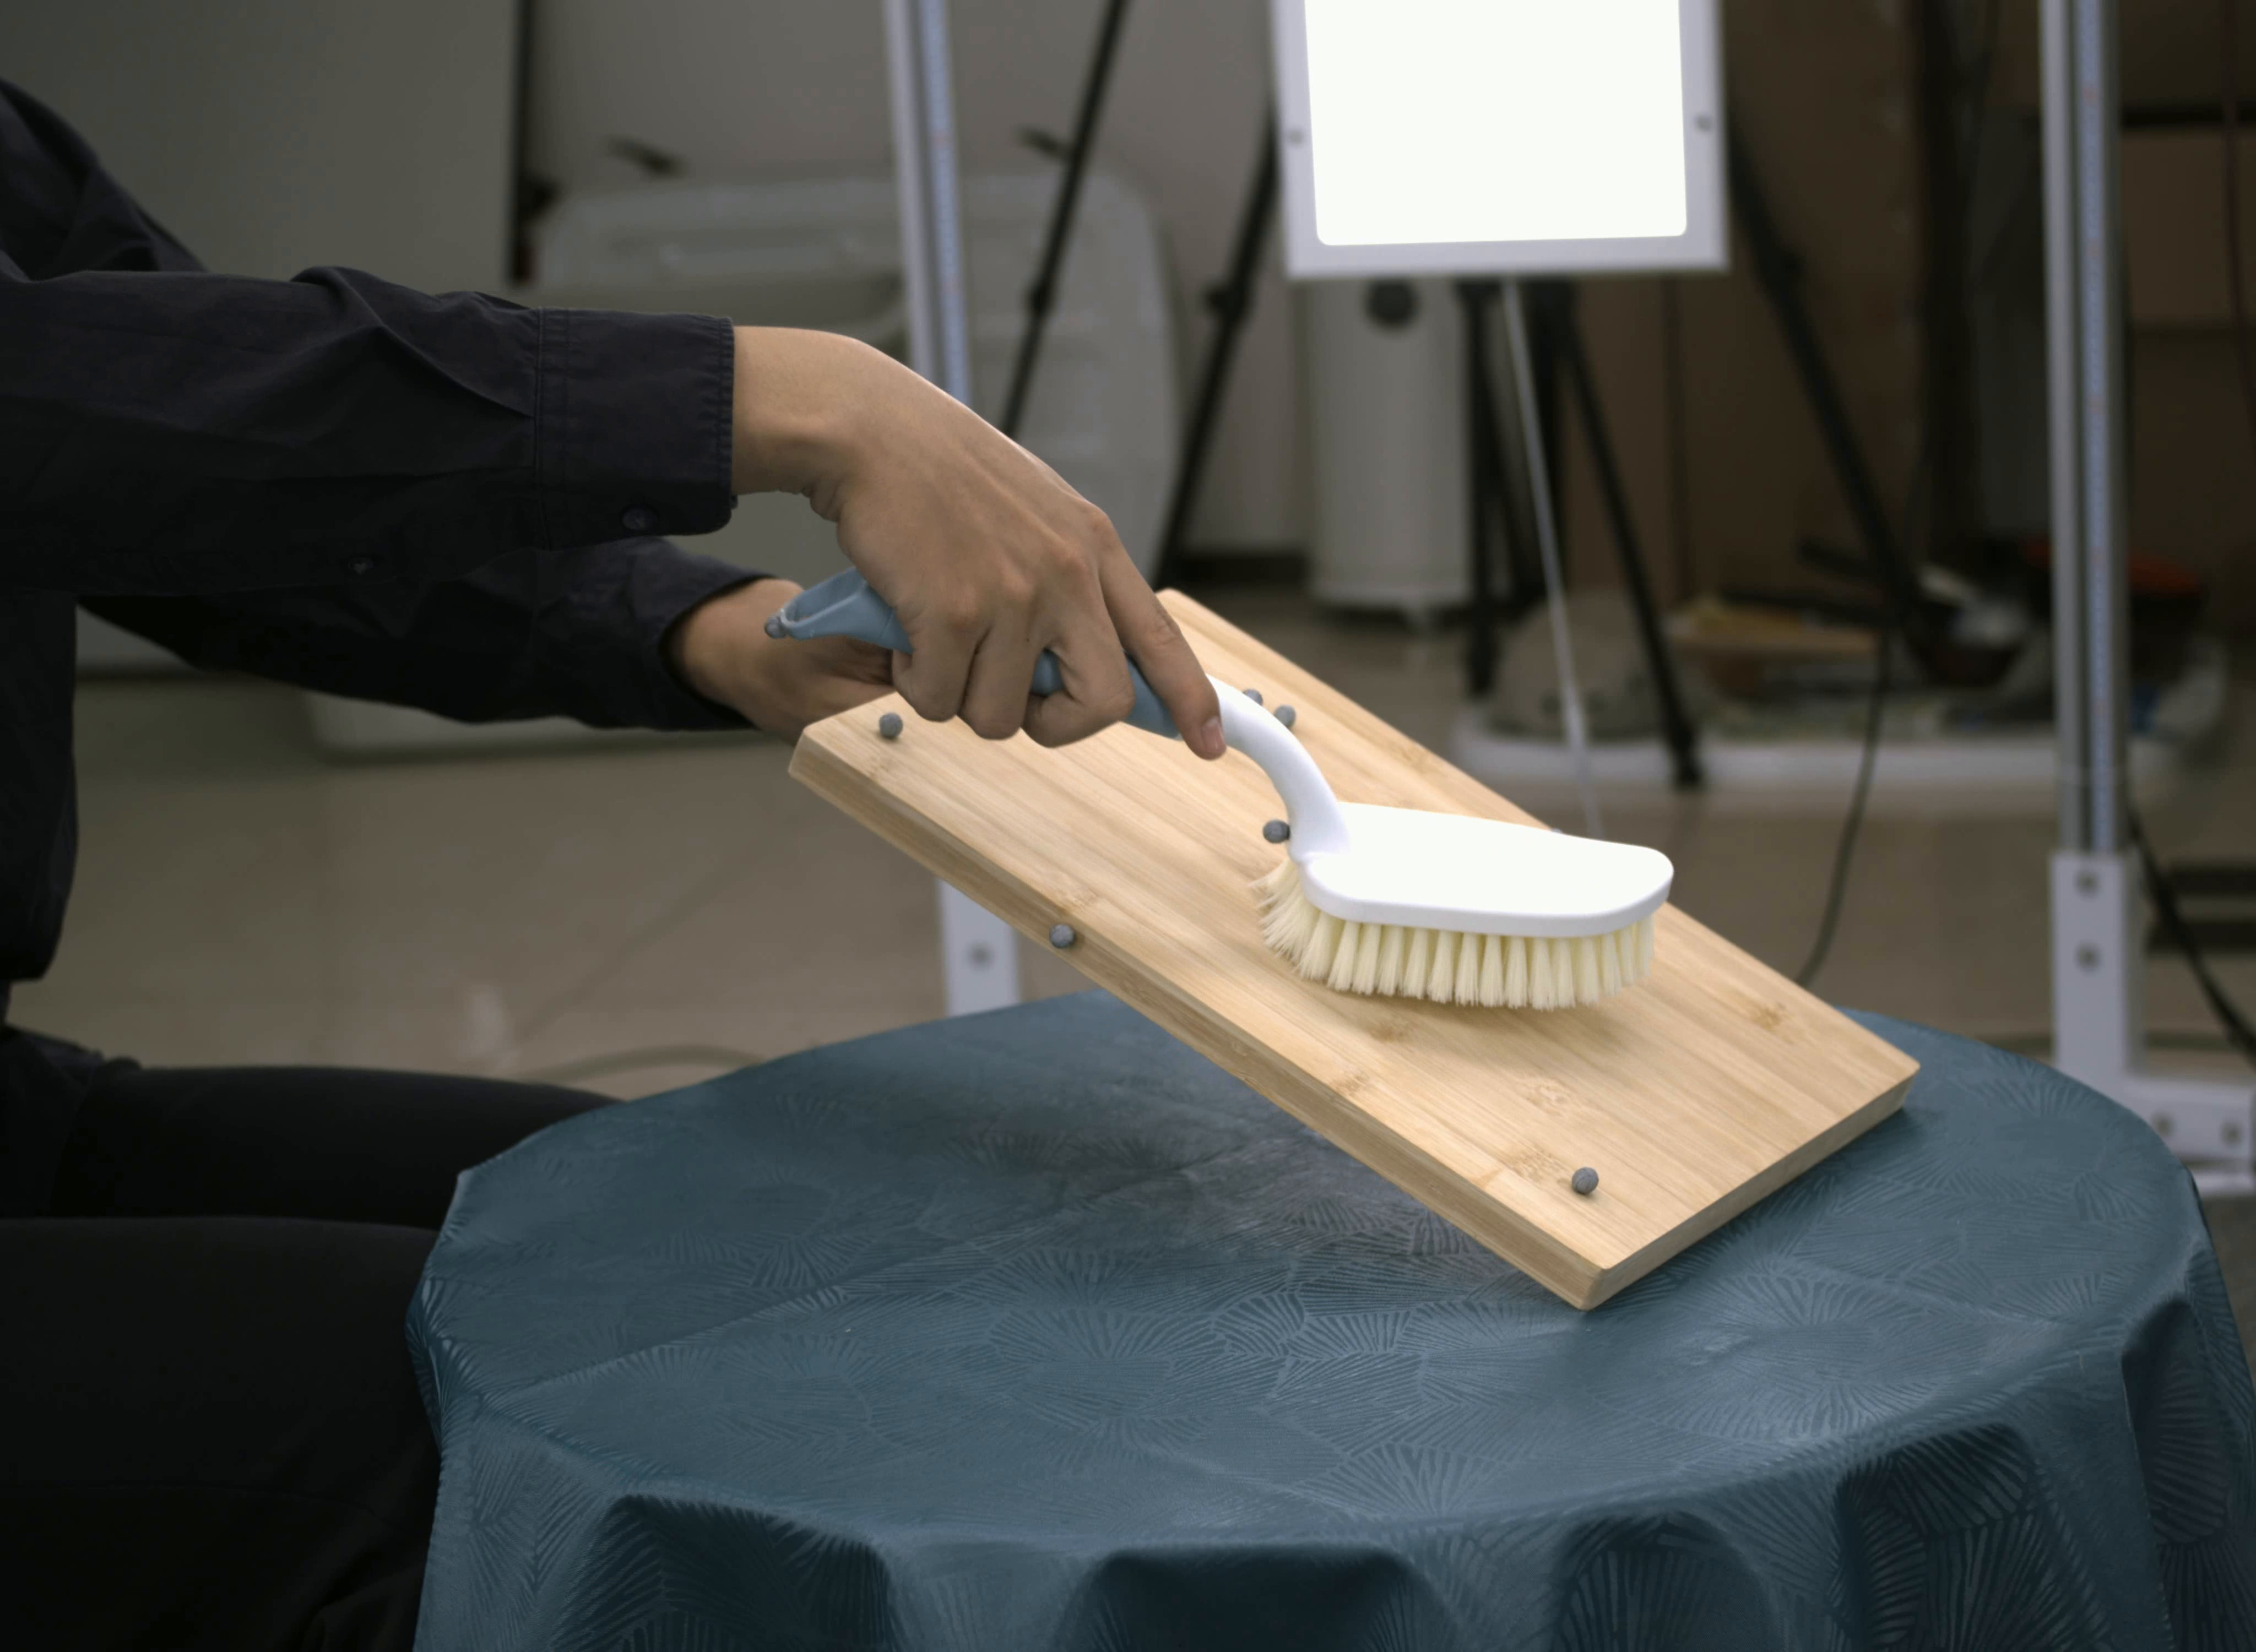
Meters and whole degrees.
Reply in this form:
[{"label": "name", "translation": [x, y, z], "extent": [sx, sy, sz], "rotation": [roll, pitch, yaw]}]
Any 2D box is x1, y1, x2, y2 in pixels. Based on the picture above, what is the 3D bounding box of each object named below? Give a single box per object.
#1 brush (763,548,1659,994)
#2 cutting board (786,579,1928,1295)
[{"label": "brush", "translation": [0.021, -0.006, 1.829], "extent": [0.321, 0.084, 0.084], "rotation": [17, -12, -13]}, {"label": "cutting board", "translation": [0.082, 0.030, 1.896], "extent": [0.352, 0.024, 0.245], "rotation": [32, 29, 22]}]
